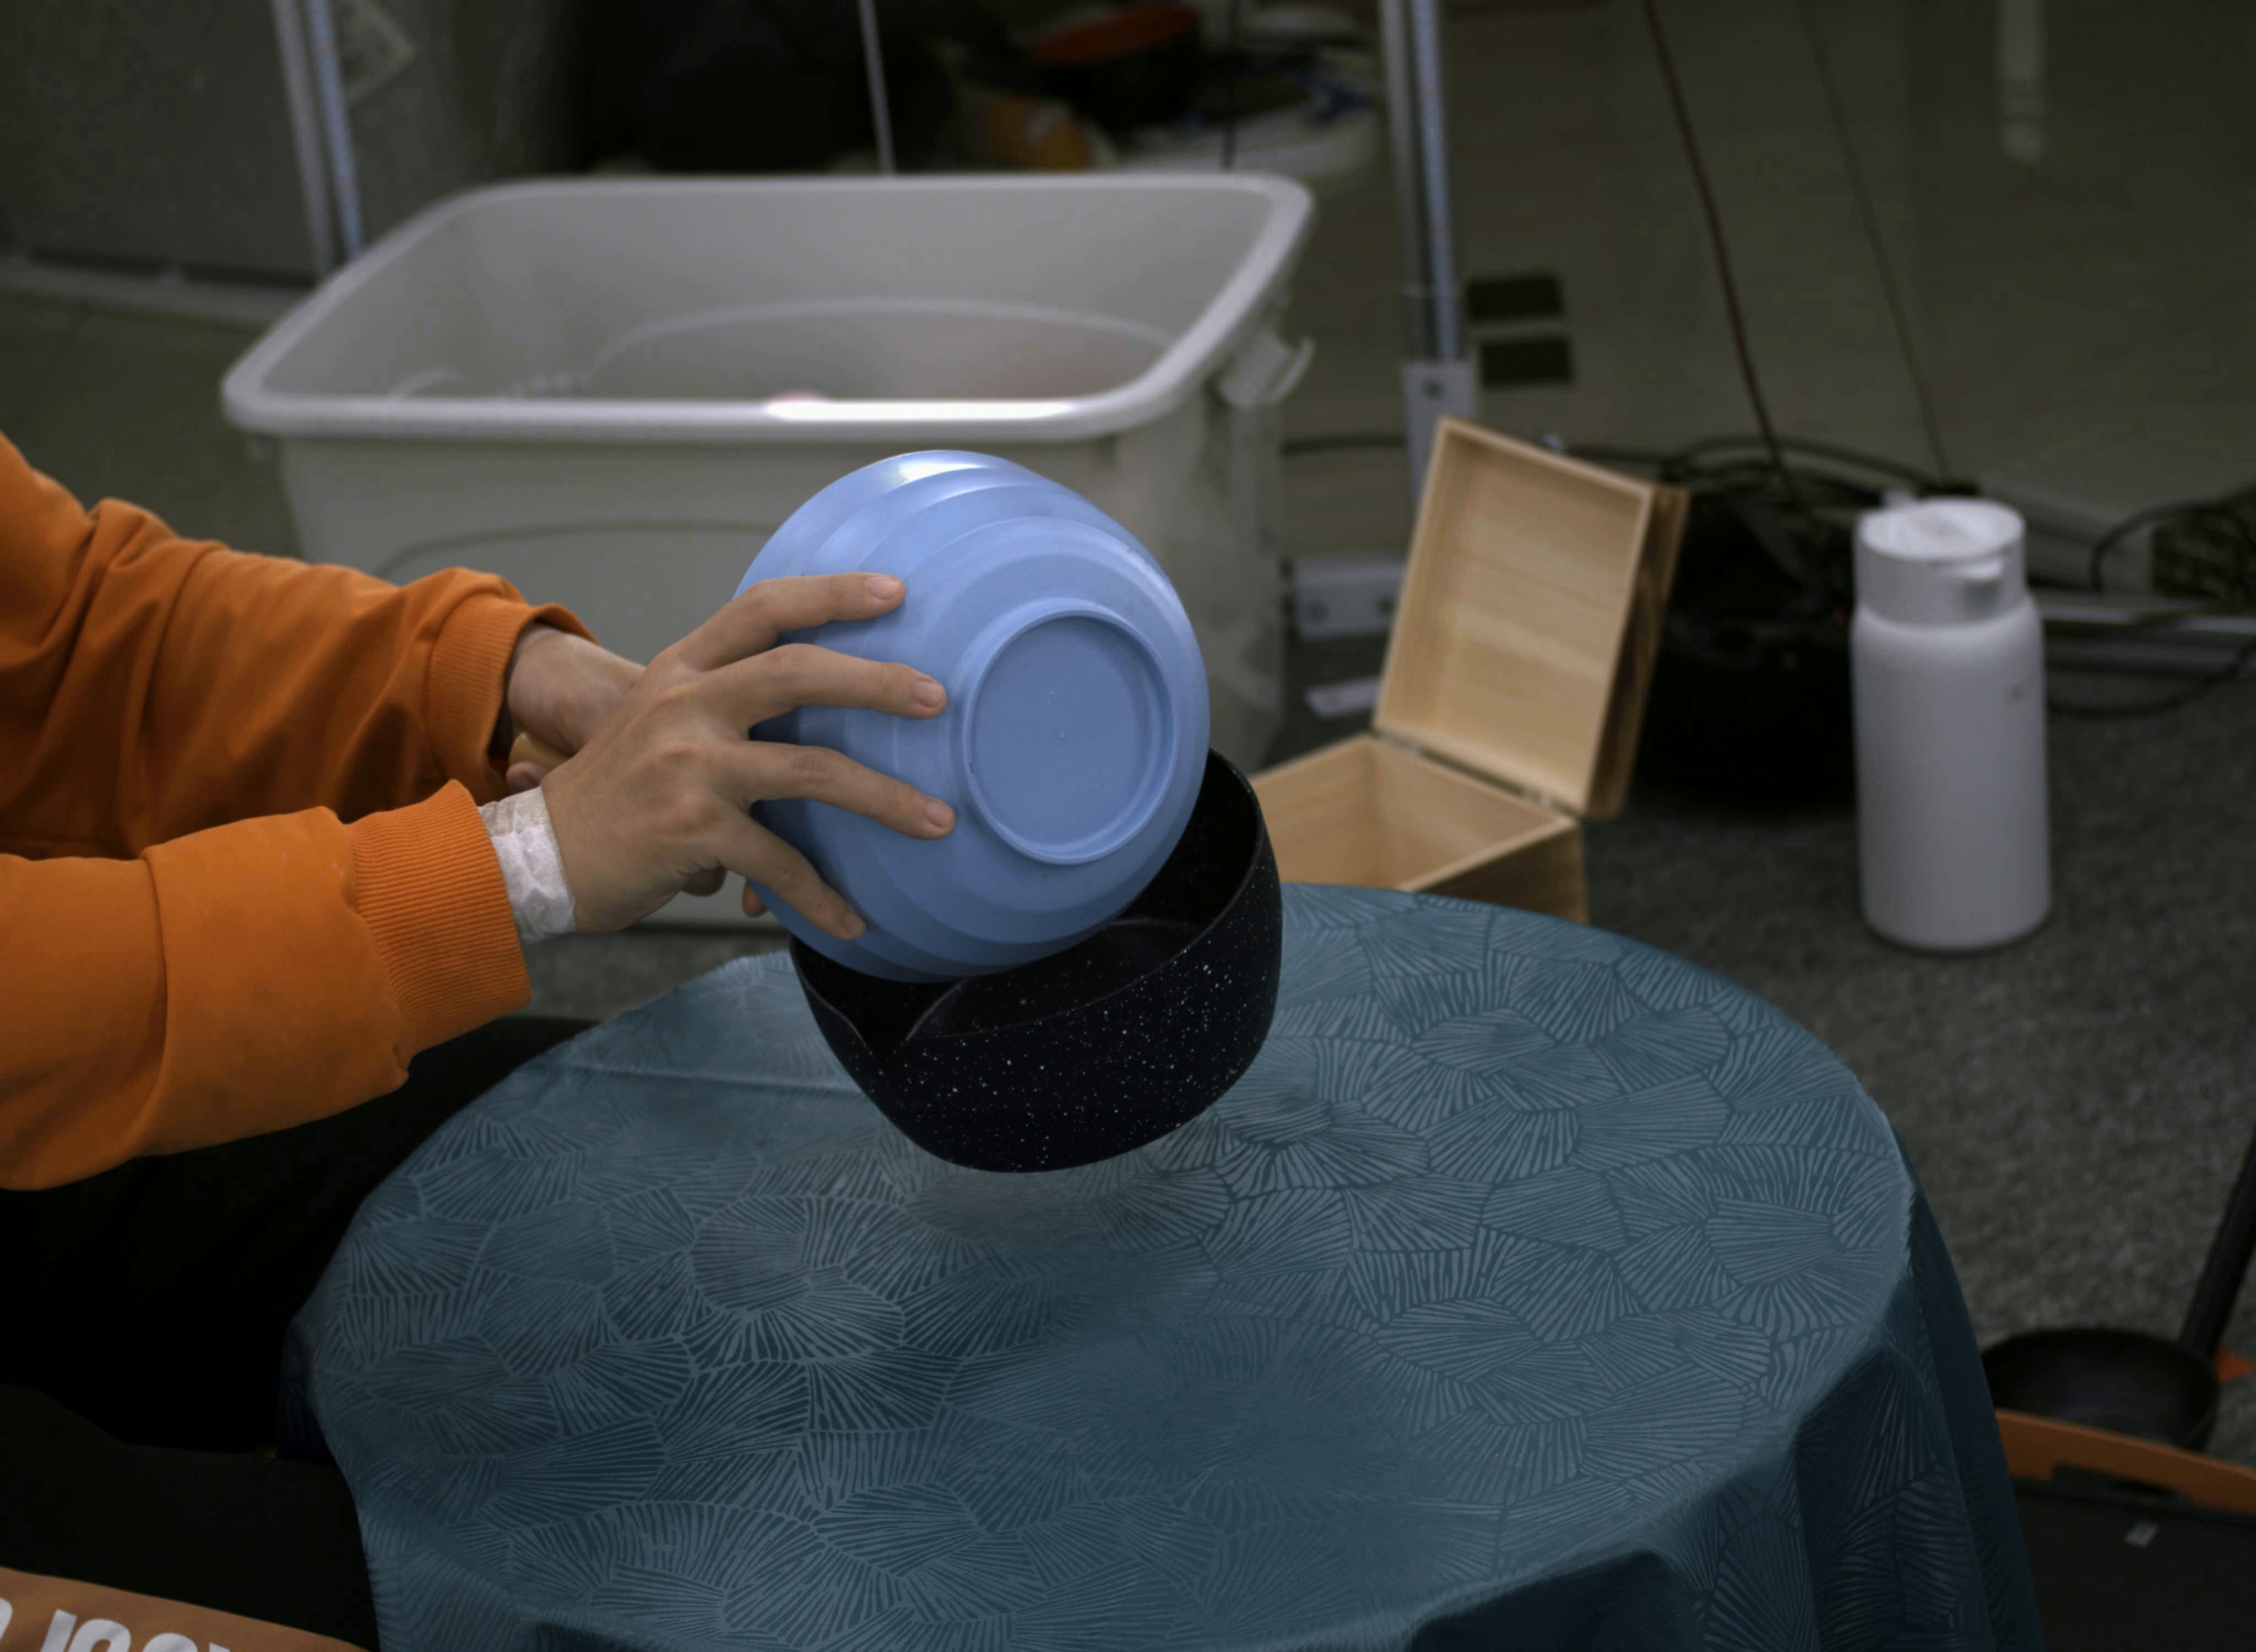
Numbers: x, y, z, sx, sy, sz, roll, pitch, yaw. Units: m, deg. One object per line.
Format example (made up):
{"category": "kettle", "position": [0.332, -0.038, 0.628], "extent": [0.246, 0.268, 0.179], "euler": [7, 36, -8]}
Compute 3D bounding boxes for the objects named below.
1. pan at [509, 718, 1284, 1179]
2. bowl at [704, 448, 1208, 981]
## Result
{"category": "pan", "position": [-0.095, 0.031, 2.165], "extent": [0.341, 0.110, 0.205], "euler": [11, 46, 34]}
{"category": "bowl", "position": [-0.045, -0.036, 2.038], "extent": [0.195, 0.199, 0.095], "euler": [-21, 19, -29]}
